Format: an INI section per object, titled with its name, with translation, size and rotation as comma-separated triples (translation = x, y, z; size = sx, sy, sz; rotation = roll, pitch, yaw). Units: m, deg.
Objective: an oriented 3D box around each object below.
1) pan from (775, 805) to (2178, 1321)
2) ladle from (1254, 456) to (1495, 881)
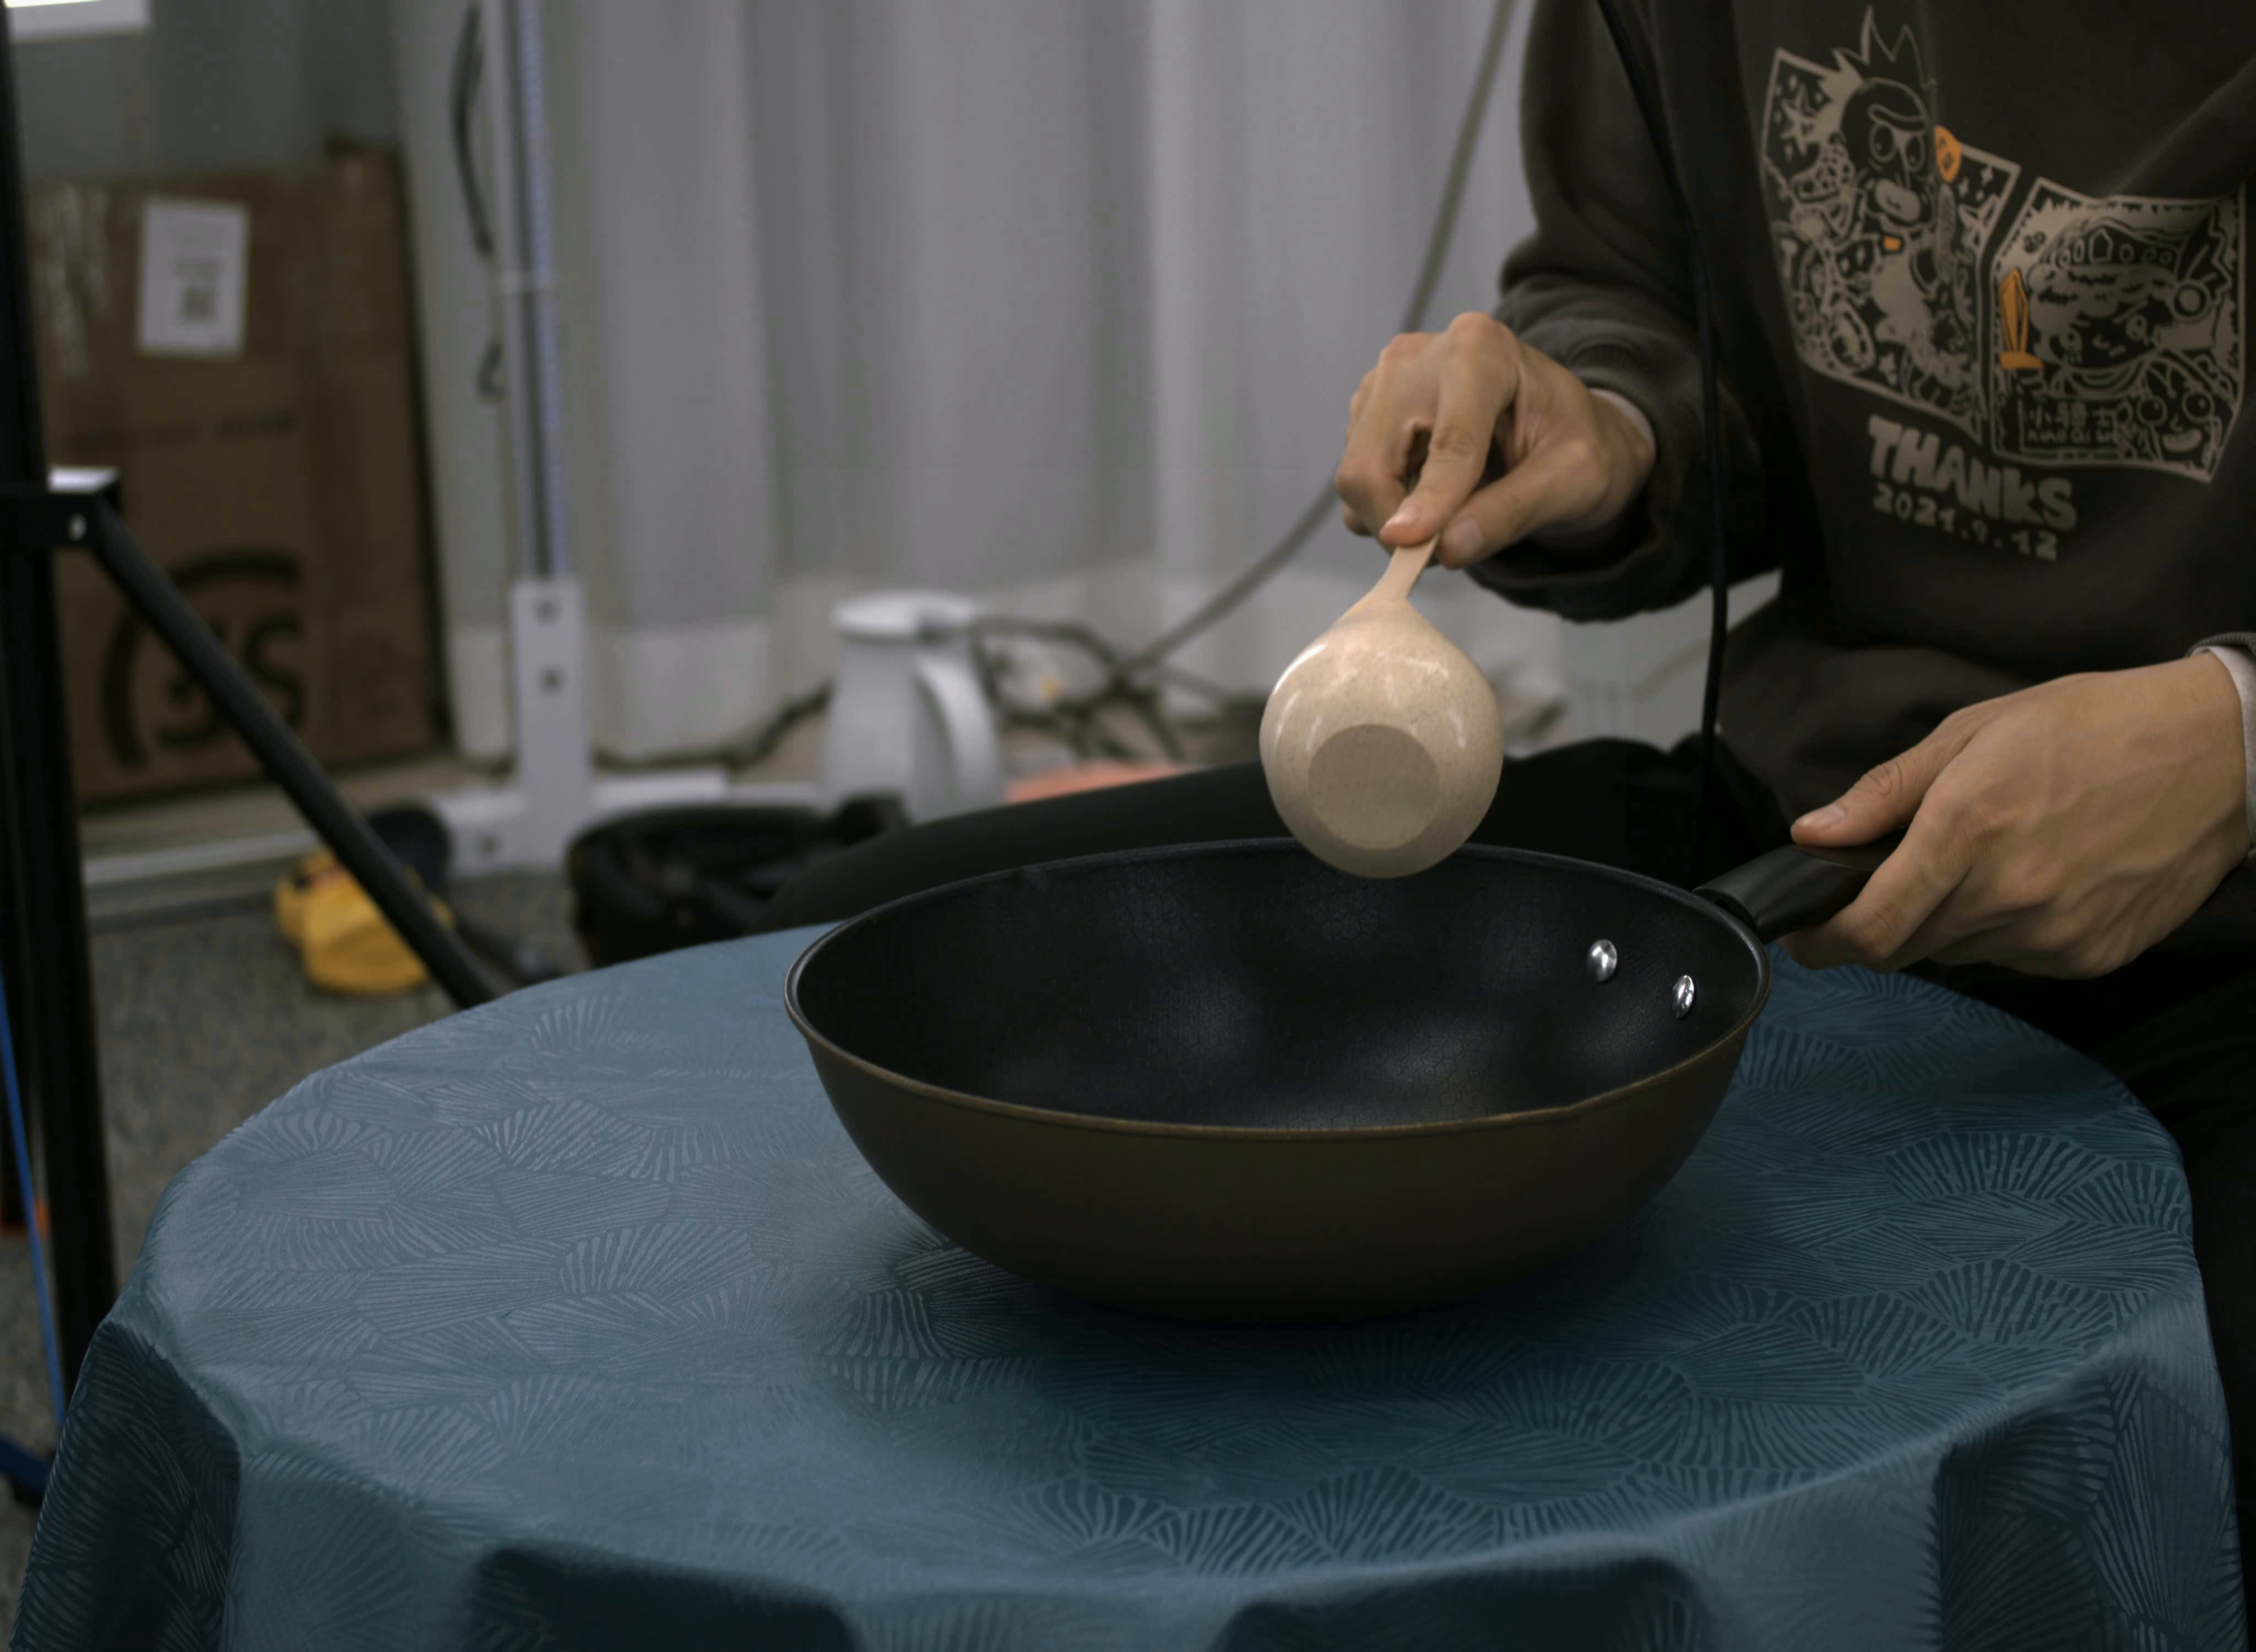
[pan]
translation = 0.119, 0.063, 1.550
size = 0.453, 0.087, 0.294
rotation = -9, 17, -28
[ladle]
translation = 0.091, -0.051, 1.656
size = 0.072, 0.072, 0.253
rotation = -7, 15, 14
